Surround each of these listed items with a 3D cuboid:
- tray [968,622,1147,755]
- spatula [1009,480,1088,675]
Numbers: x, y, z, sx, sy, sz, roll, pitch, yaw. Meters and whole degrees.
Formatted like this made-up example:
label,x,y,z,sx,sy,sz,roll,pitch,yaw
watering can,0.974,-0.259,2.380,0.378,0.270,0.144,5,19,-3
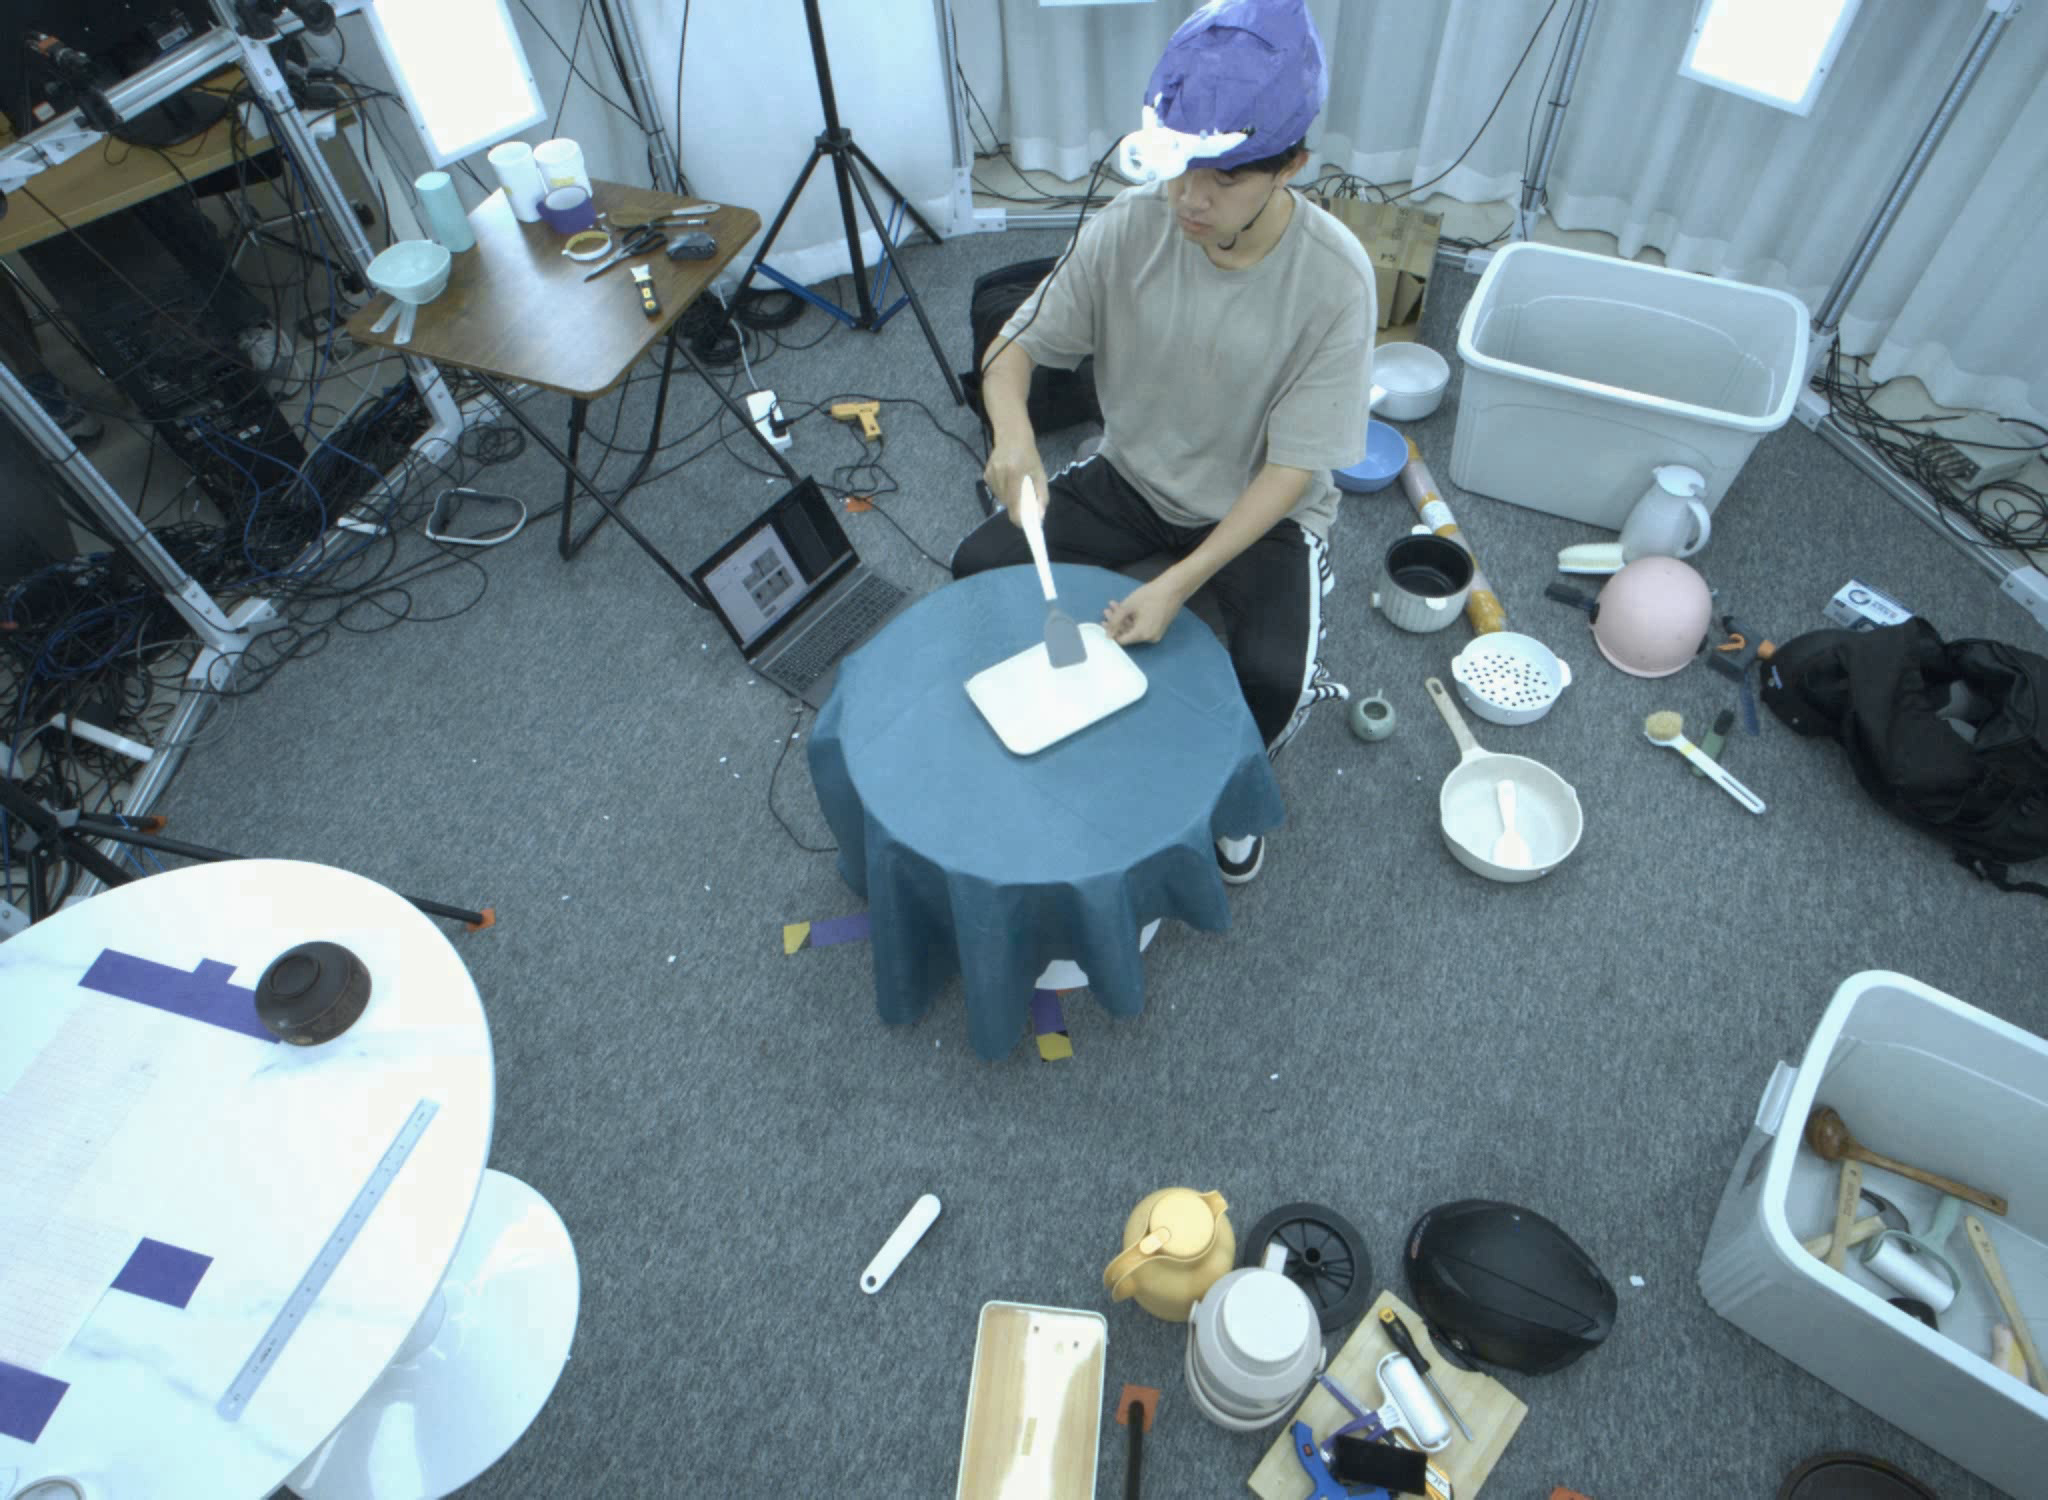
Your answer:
label,x,y,z,sx,sy,sz,roll,pitch,yaw
tray,0.050,-0.092,1.837,0.241,0.017,0.168,-27,59,-16
spatula,0.029,-0.243,1.718,0.059,0.032,0.286,-14,82,-7
